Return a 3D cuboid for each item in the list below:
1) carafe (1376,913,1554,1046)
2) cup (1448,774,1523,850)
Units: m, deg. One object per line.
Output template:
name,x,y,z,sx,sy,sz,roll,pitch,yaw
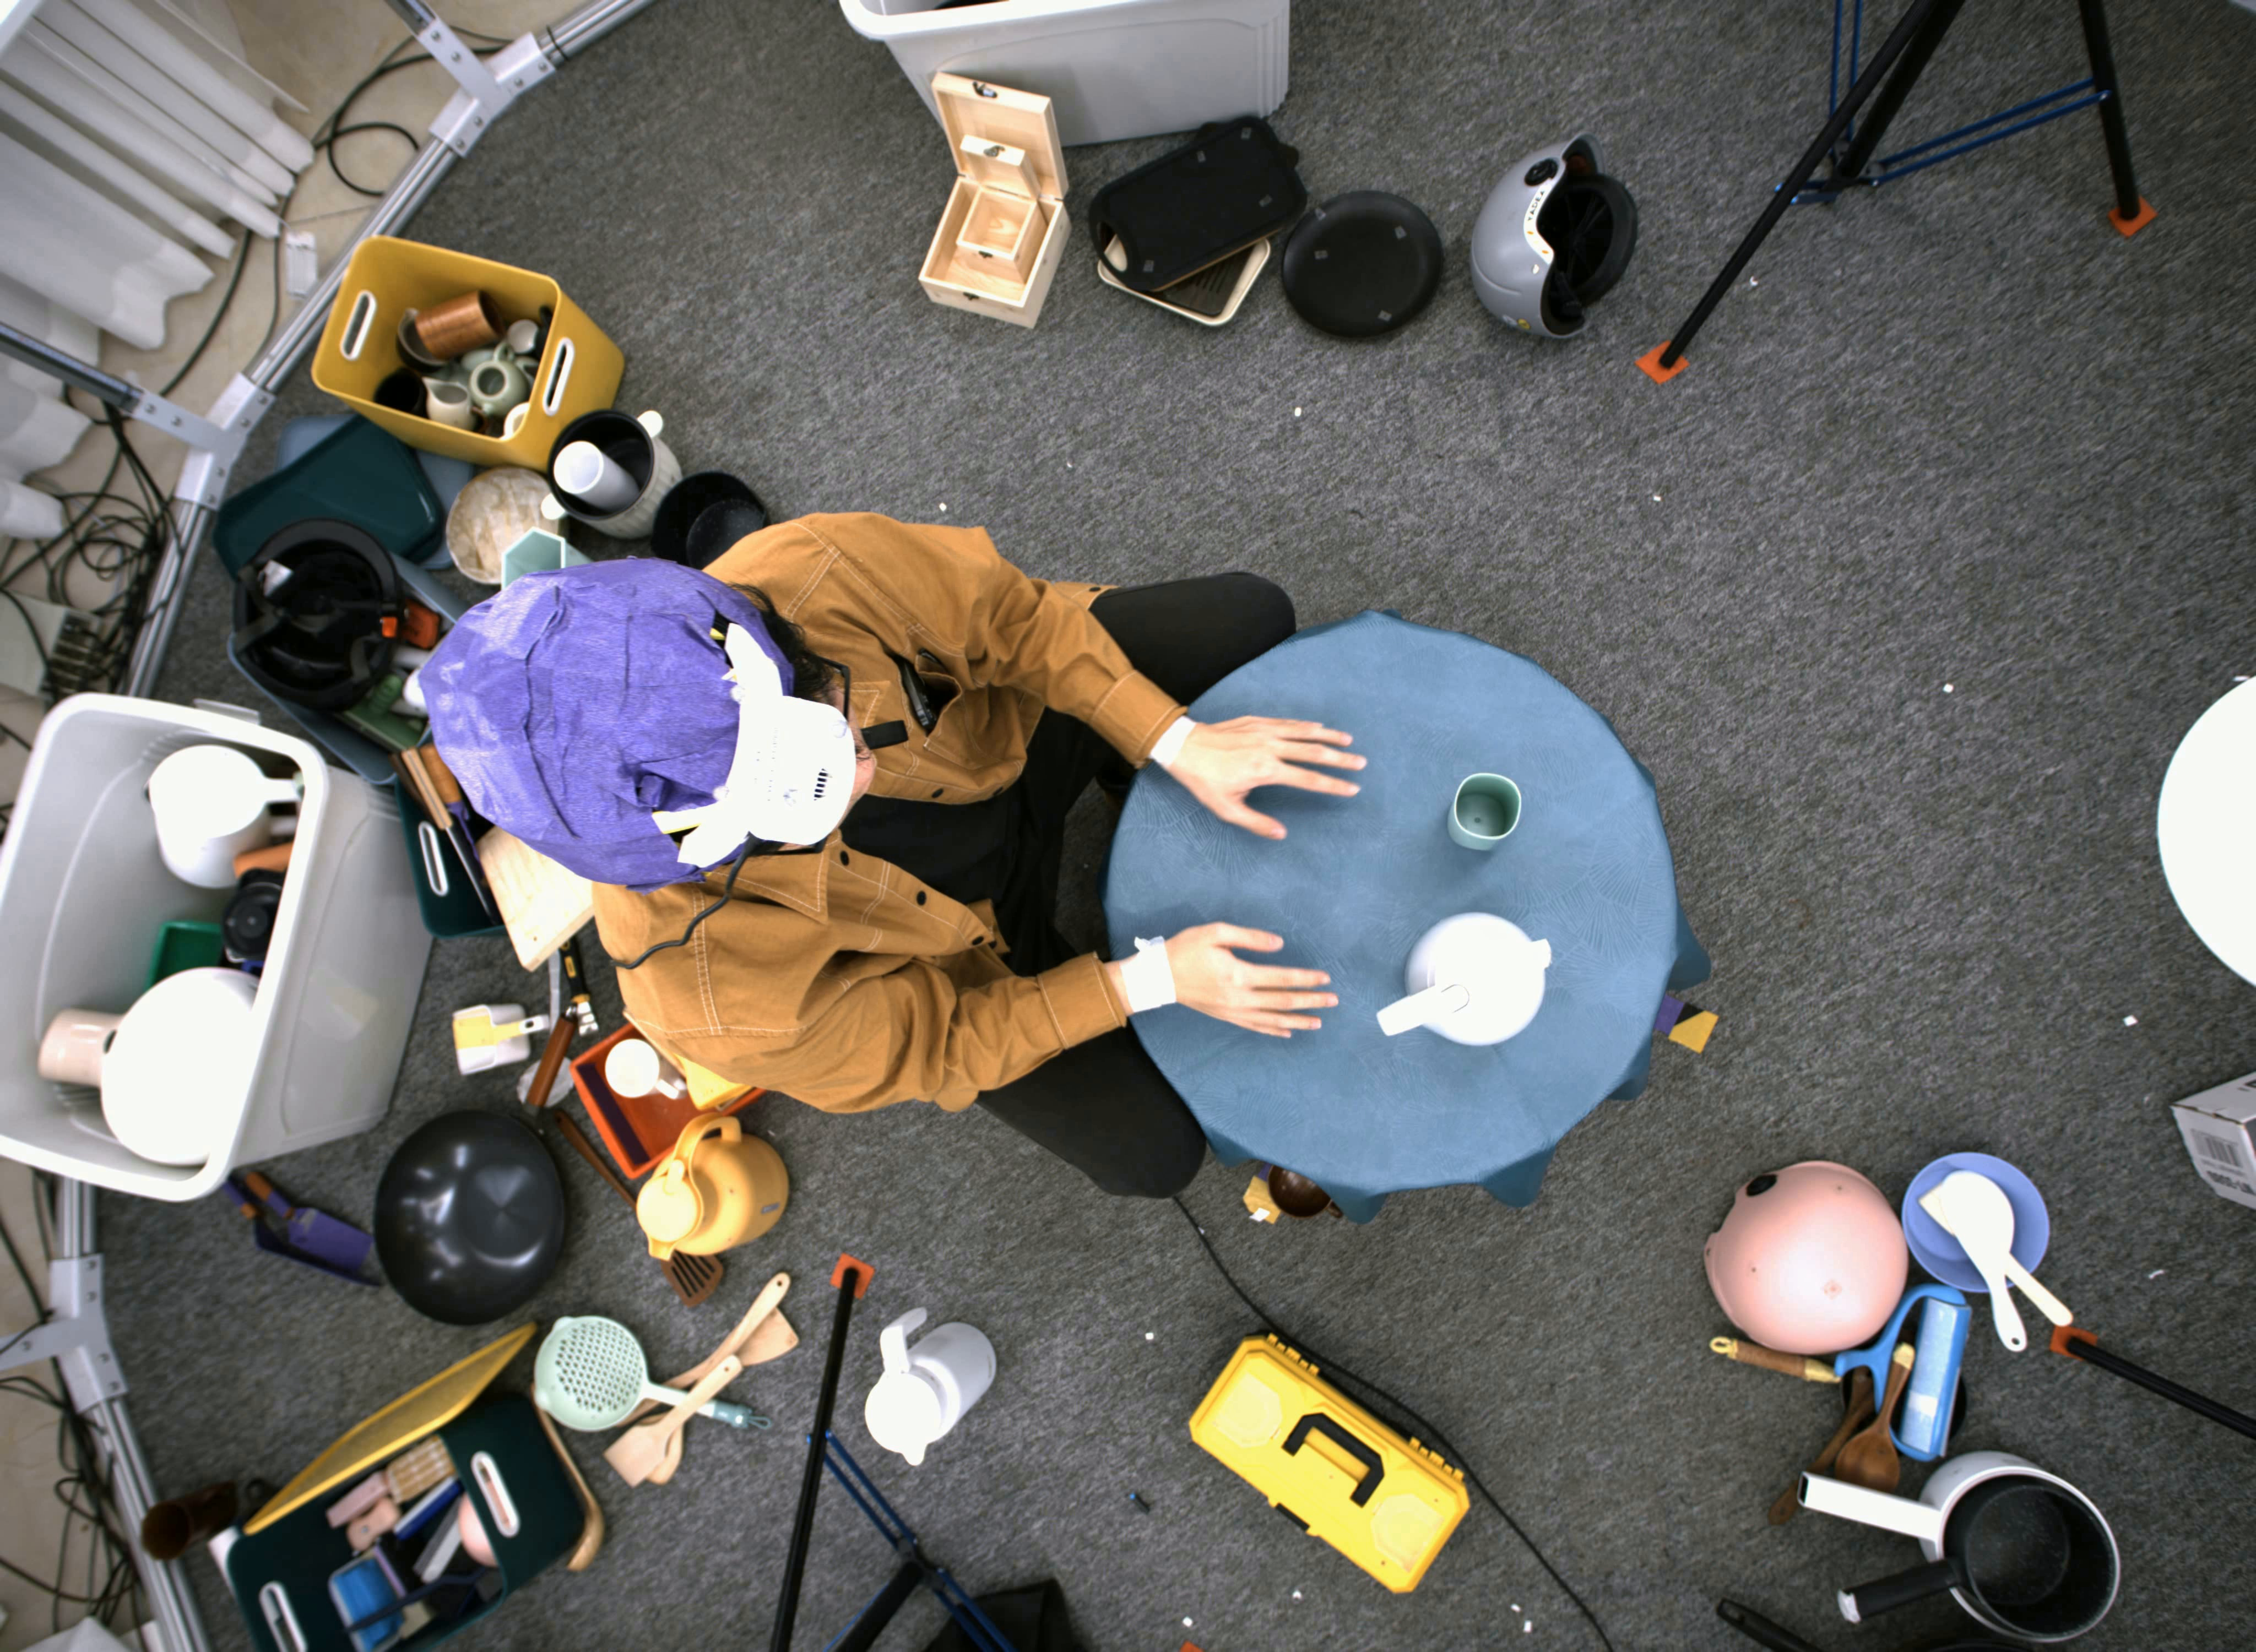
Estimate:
carafe,0.318,0.155,1.322,0.169,0.248,0.131,-27,81,8
cup,0.357,-0.015,1.386,0.067,0.132,0.066,-1,84,10
